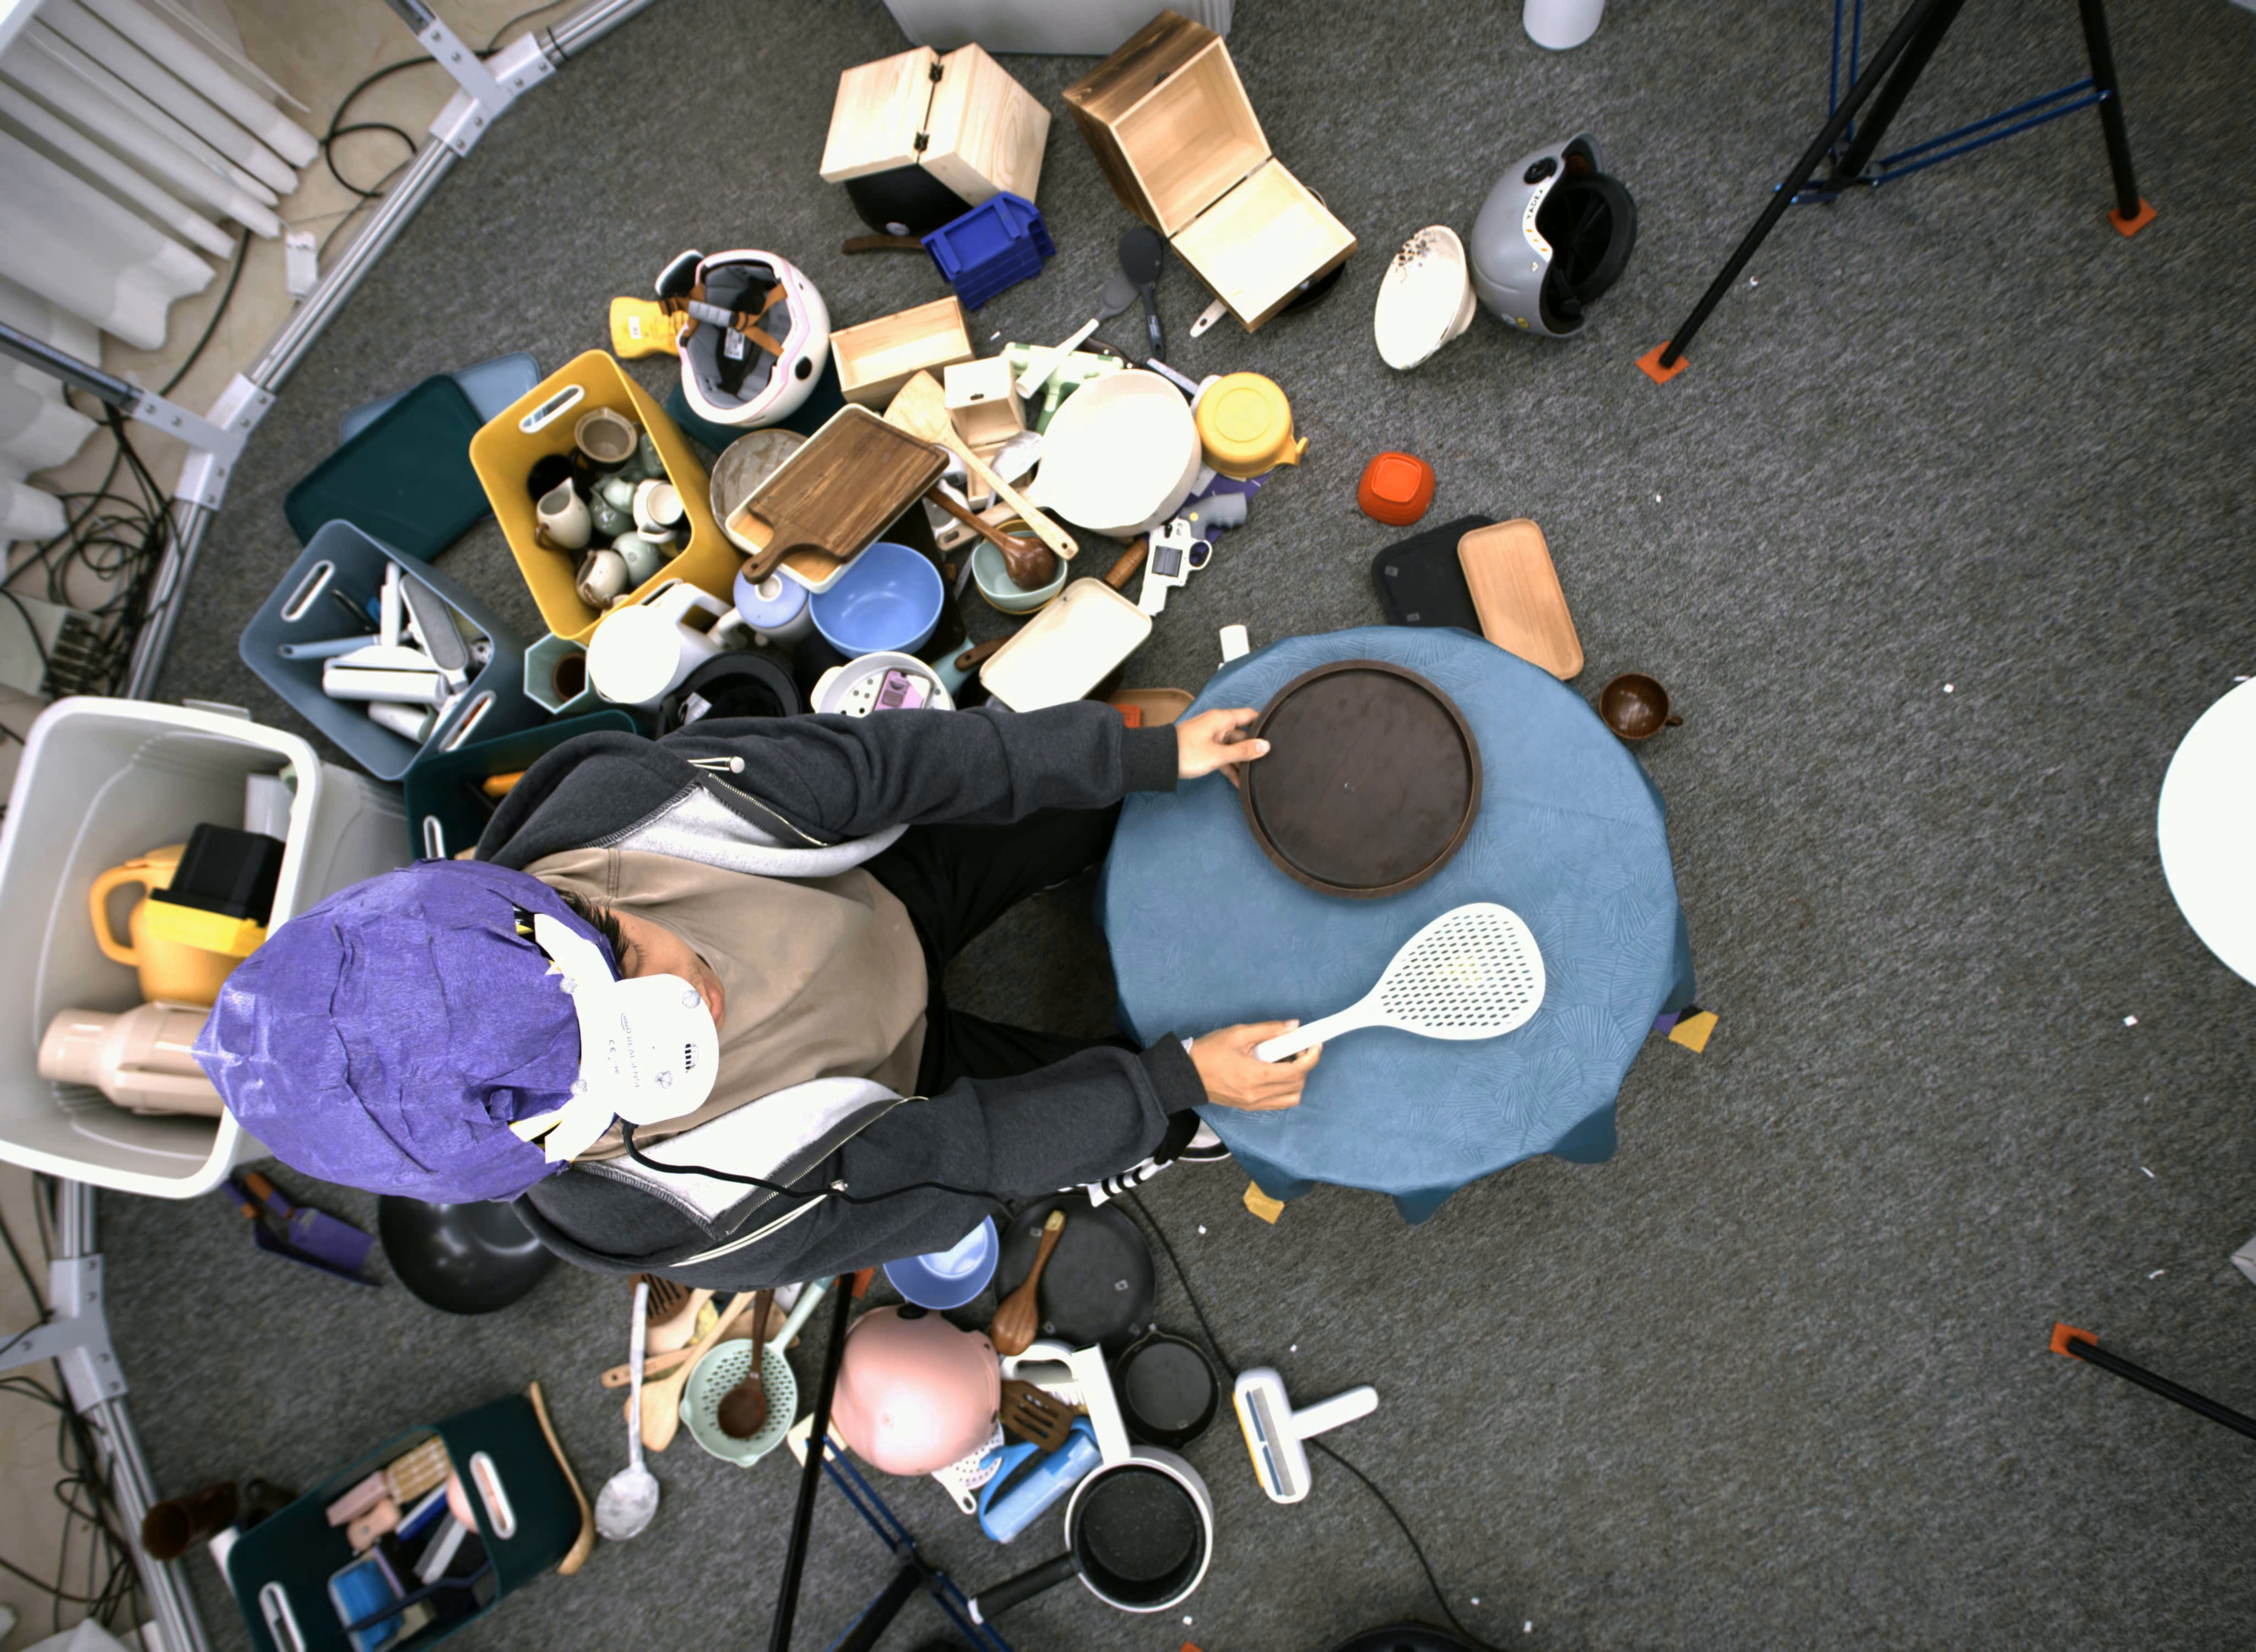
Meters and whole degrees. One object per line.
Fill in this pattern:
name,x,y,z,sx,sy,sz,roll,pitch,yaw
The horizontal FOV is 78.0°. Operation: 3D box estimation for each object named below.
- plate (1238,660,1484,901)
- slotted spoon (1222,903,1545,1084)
plate,0.242,-0.049,1.441,0.255,0.029,0.254,0,91,8
slotted spoon,0.256,0.188,1.426,0.349,0.050,0.137,-23,91,4
